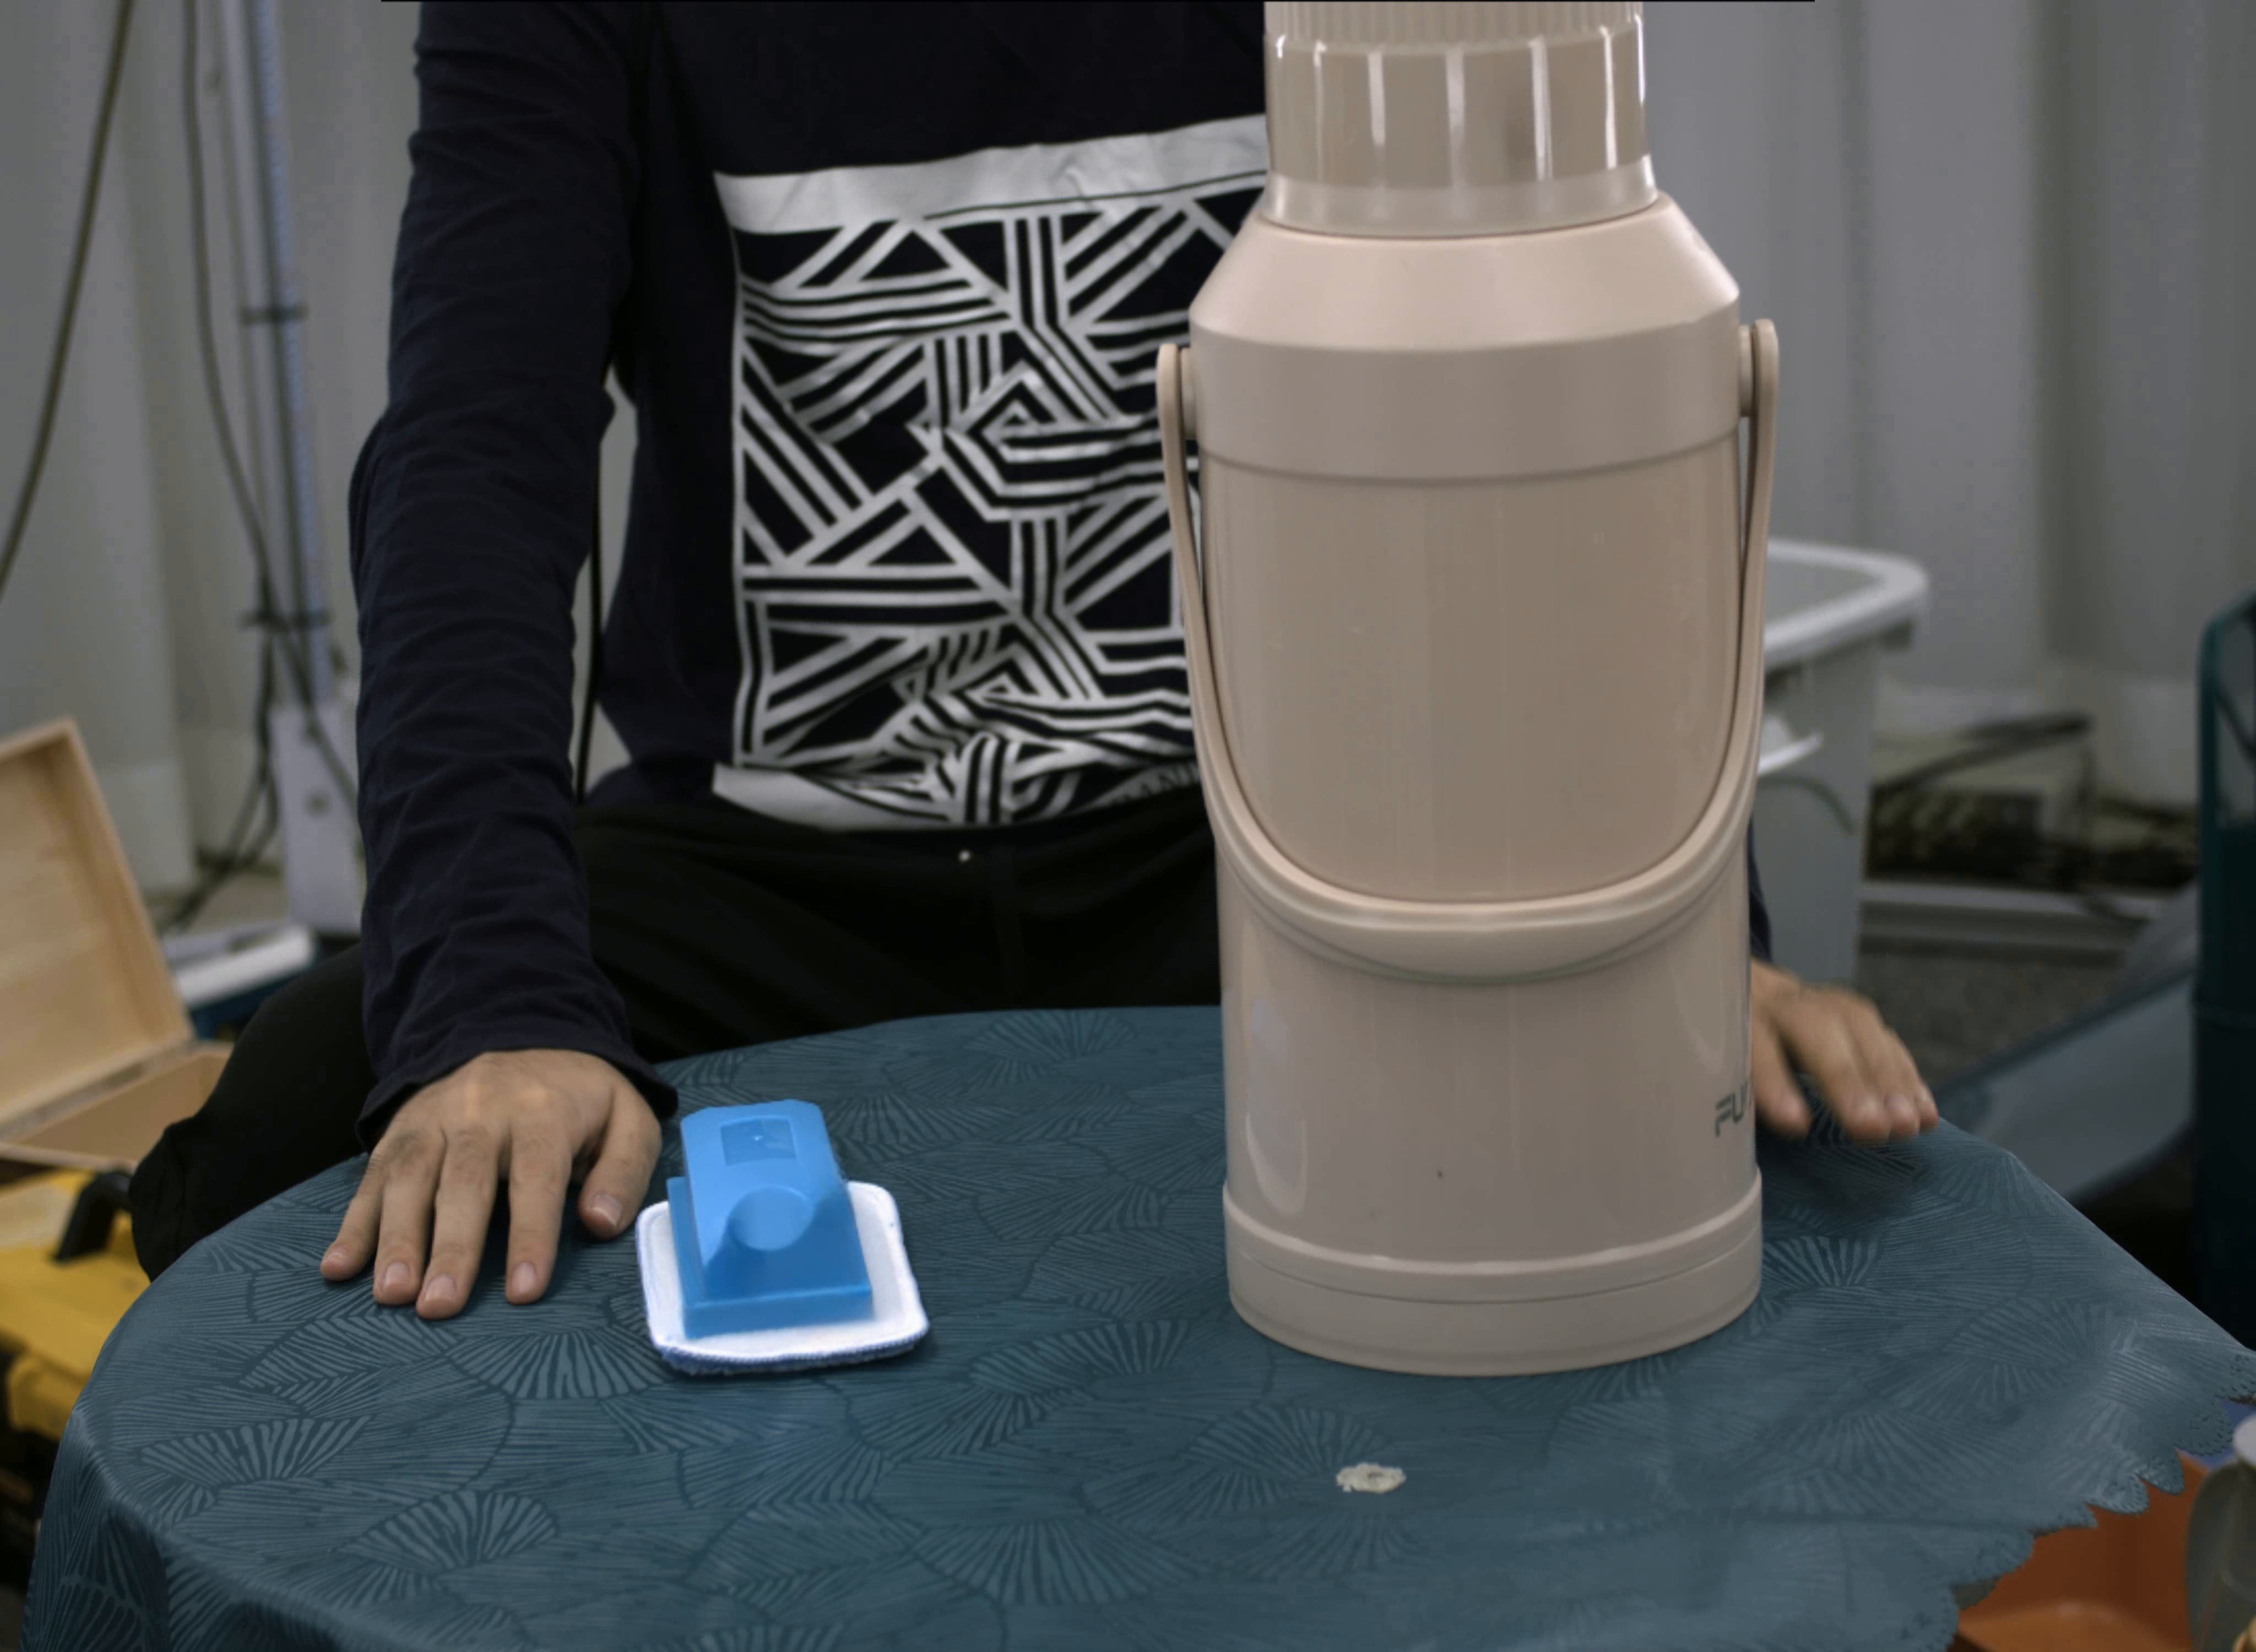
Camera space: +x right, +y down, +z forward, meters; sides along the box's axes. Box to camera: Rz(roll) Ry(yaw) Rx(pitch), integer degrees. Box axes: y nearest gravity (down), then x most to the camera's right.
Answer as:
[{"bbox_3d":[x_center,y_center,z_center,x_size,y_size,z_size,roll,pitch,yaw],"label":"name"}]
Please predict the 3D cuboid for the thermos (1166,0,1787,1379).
[{"bbox_3d":[0.104,-0.059,1.582,0.175,0.405,0.208,-4,13,3],"label":"thermos"}]

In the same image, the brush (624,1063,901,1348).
[{"bbox_3d":[-0.109,0.110,1.633,0.083,0.055,0.145,-1,17,-5],"label":"brush"}]
